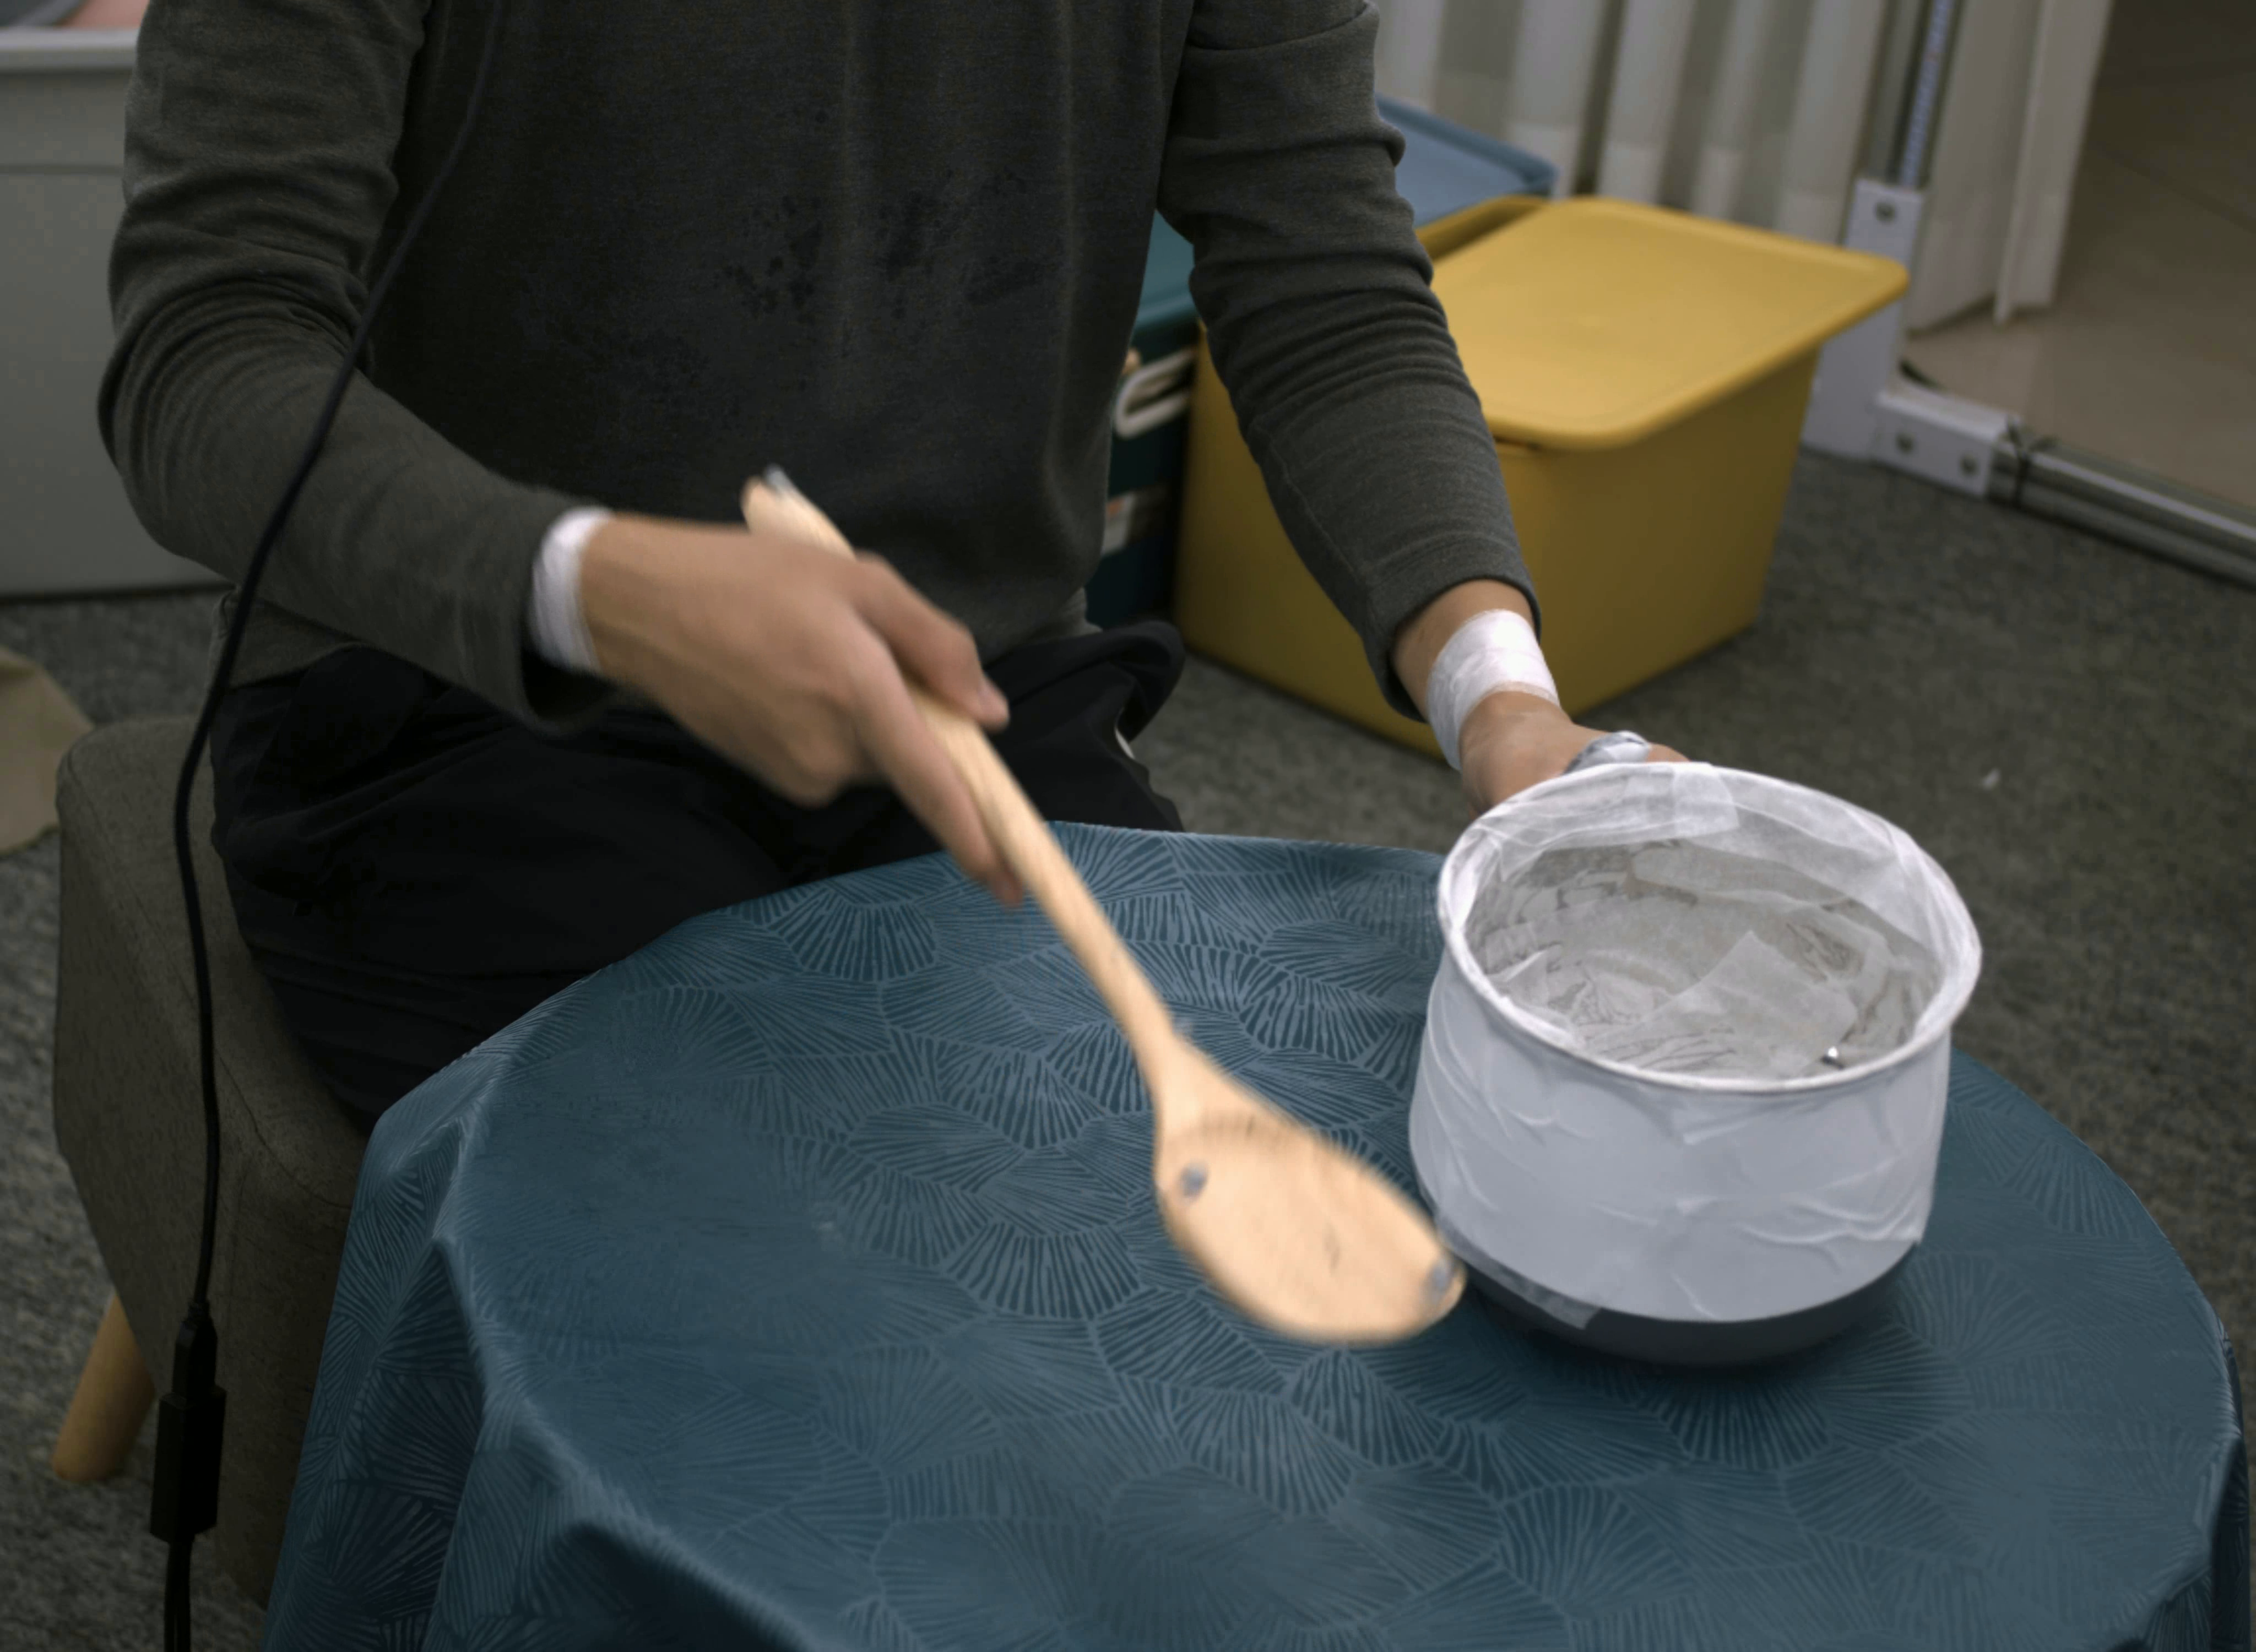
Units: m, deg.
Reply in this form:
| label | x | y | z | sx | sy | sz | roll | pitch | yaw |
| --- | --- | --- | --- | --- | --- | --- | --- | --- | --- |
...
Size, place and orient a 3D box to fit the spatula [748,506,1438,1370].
| label | x | y | z | sx | sy | sz | roll | pitch | yaw |
| --- | --- | --- | --- | --- | --- | --- | --- | --- | --- |
| spatula | -0.029 | 0.028 | 1.668 | 0.095 | 0.018 | 0.394 | 1 | 43 | -42 |

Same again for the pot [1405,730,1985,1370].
| label | x | y | z | sx | sy | sz | roll | pitch | yaw |
| --- | --- | --- | --- | --- | --- | --- | --- | --- | --- |
| pot | 0.177 | 0.066 | 1.780 | 0.178 | 0.136 | 0.236 | -3 | 36 | -13 |
